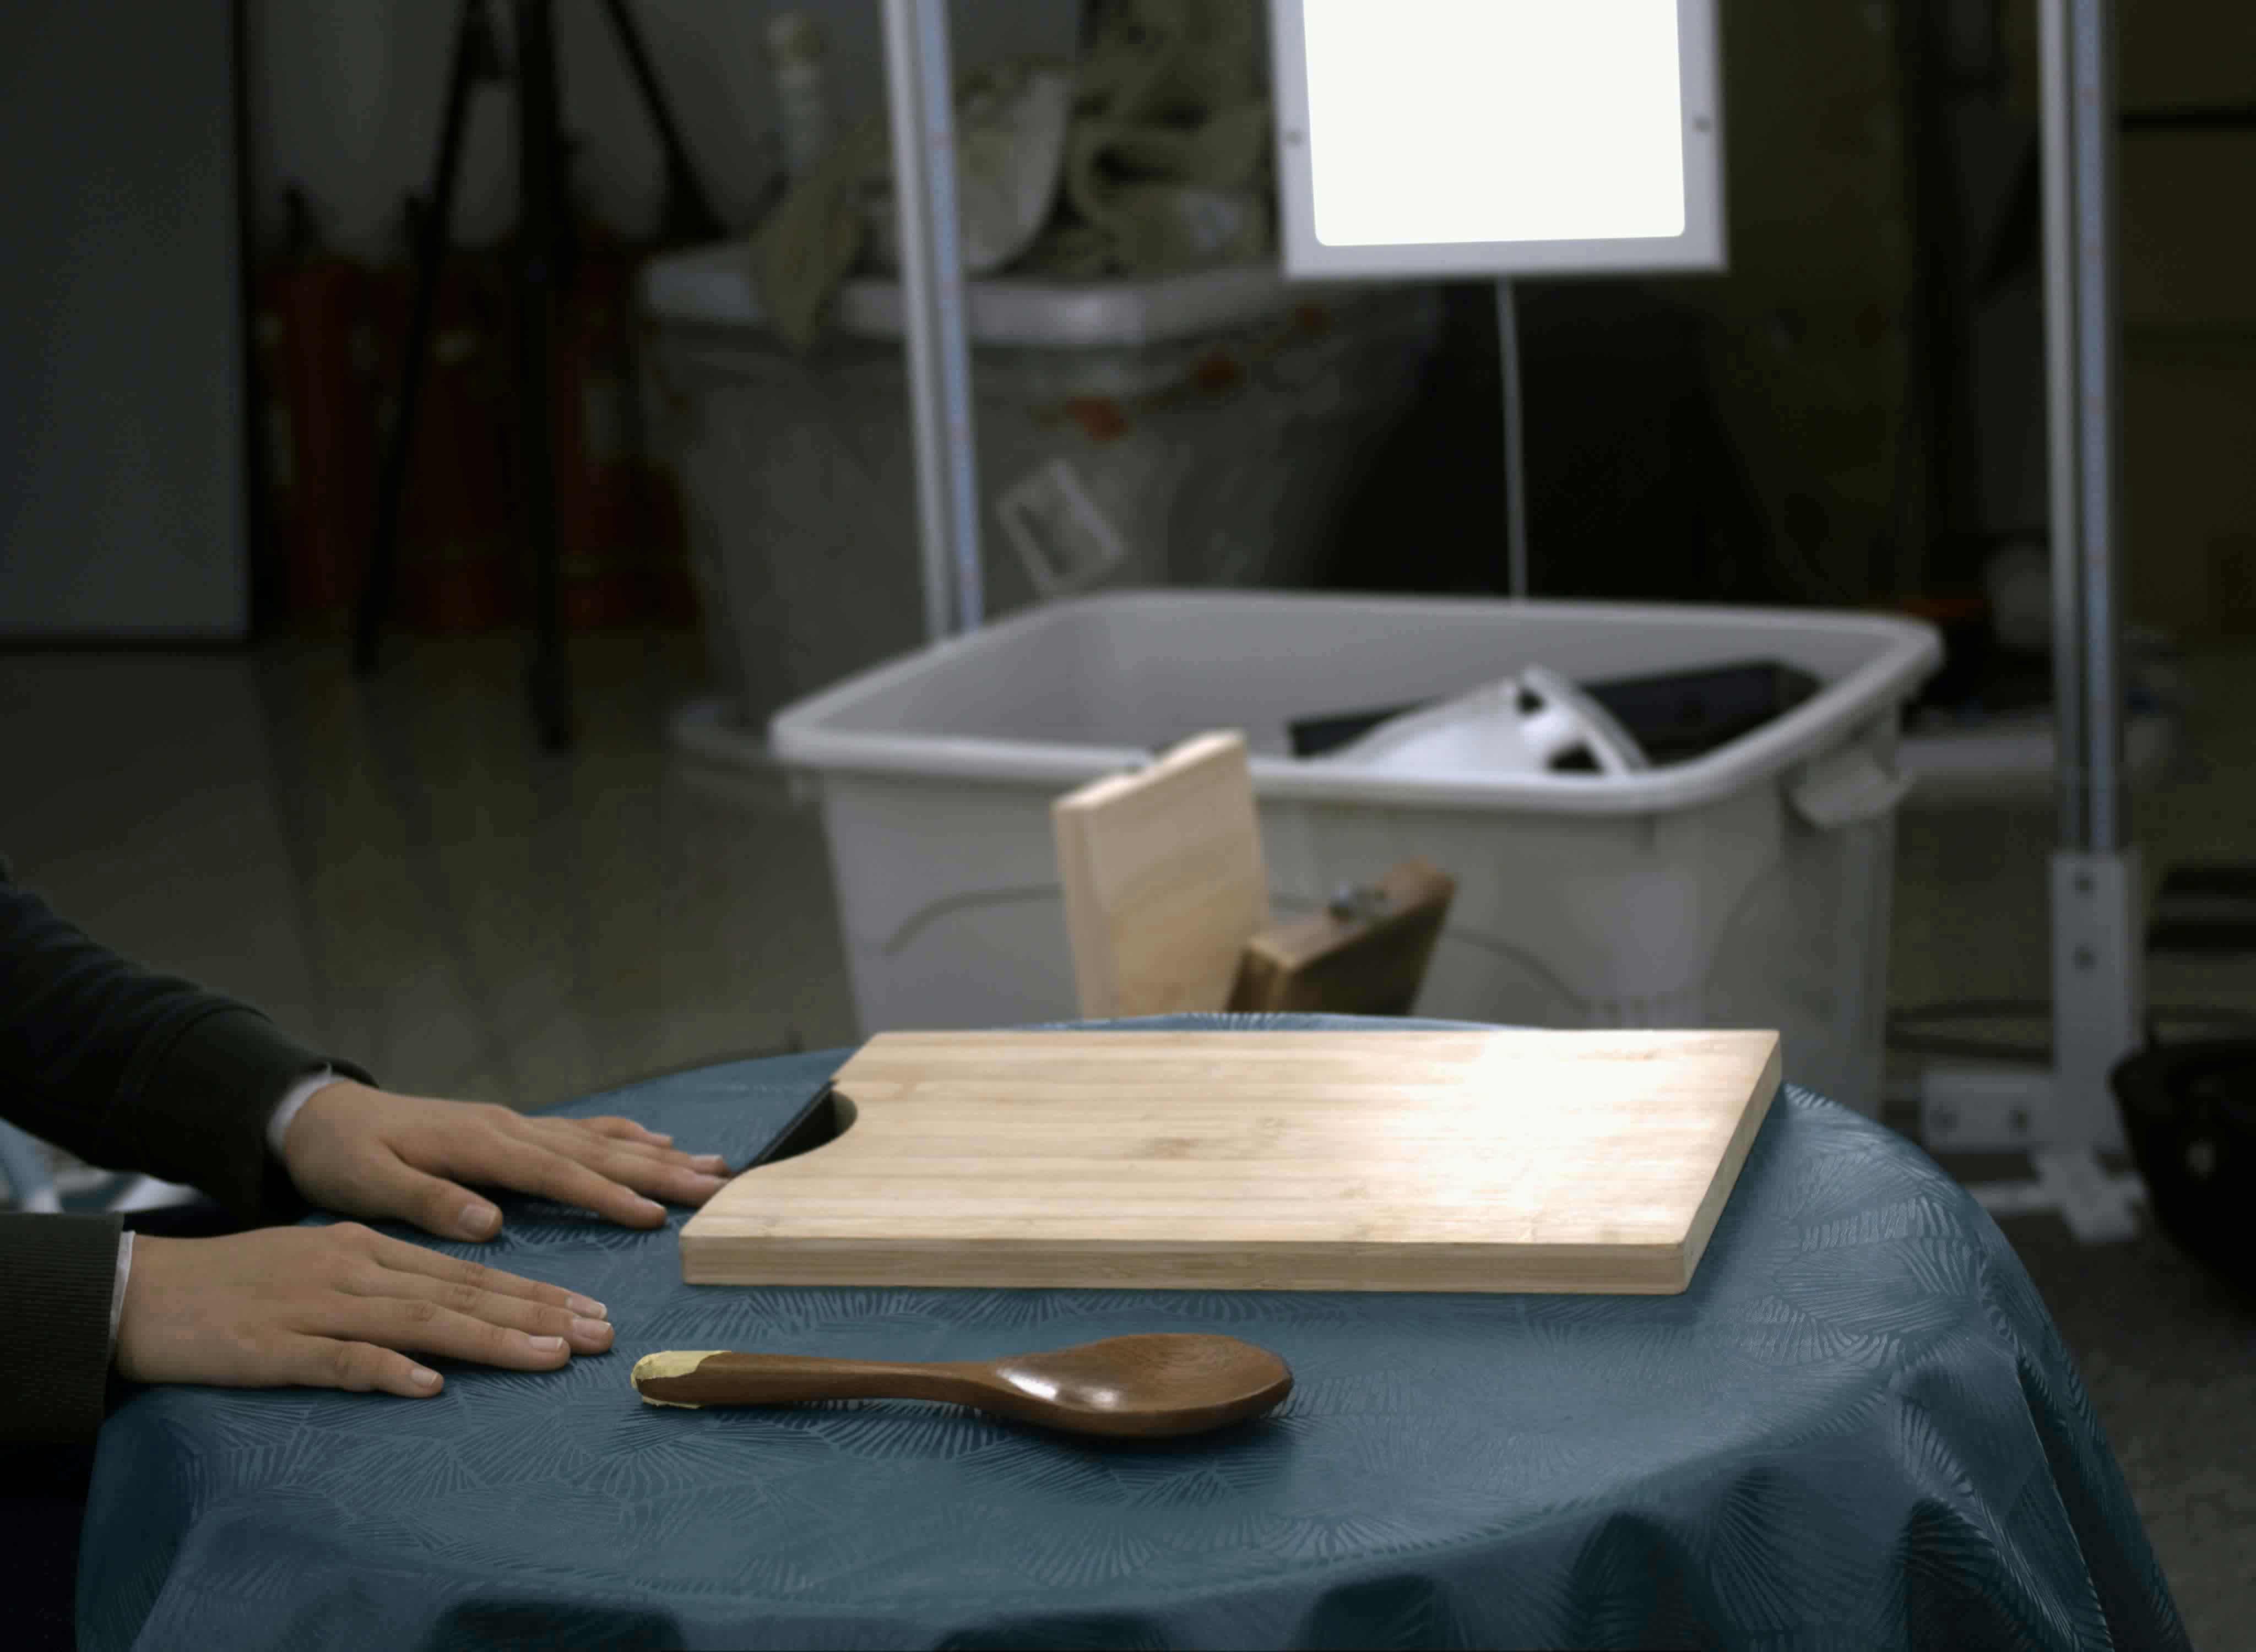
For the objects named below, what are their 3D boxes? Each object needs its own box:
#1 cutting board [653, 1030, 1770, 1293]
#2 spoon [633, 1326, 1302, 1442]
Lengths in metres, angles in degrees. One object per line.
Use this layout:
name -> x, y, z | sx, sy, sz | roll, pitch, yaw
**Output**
cutting board -> 0.036, 0.114, 1.903 | 0.352, 0.023, 0.247 | -1, 14, 16
spoon -> -0.051, 0.171, 1.696 | 0.218, 0.017, 0.074 | 1, 16, 20
